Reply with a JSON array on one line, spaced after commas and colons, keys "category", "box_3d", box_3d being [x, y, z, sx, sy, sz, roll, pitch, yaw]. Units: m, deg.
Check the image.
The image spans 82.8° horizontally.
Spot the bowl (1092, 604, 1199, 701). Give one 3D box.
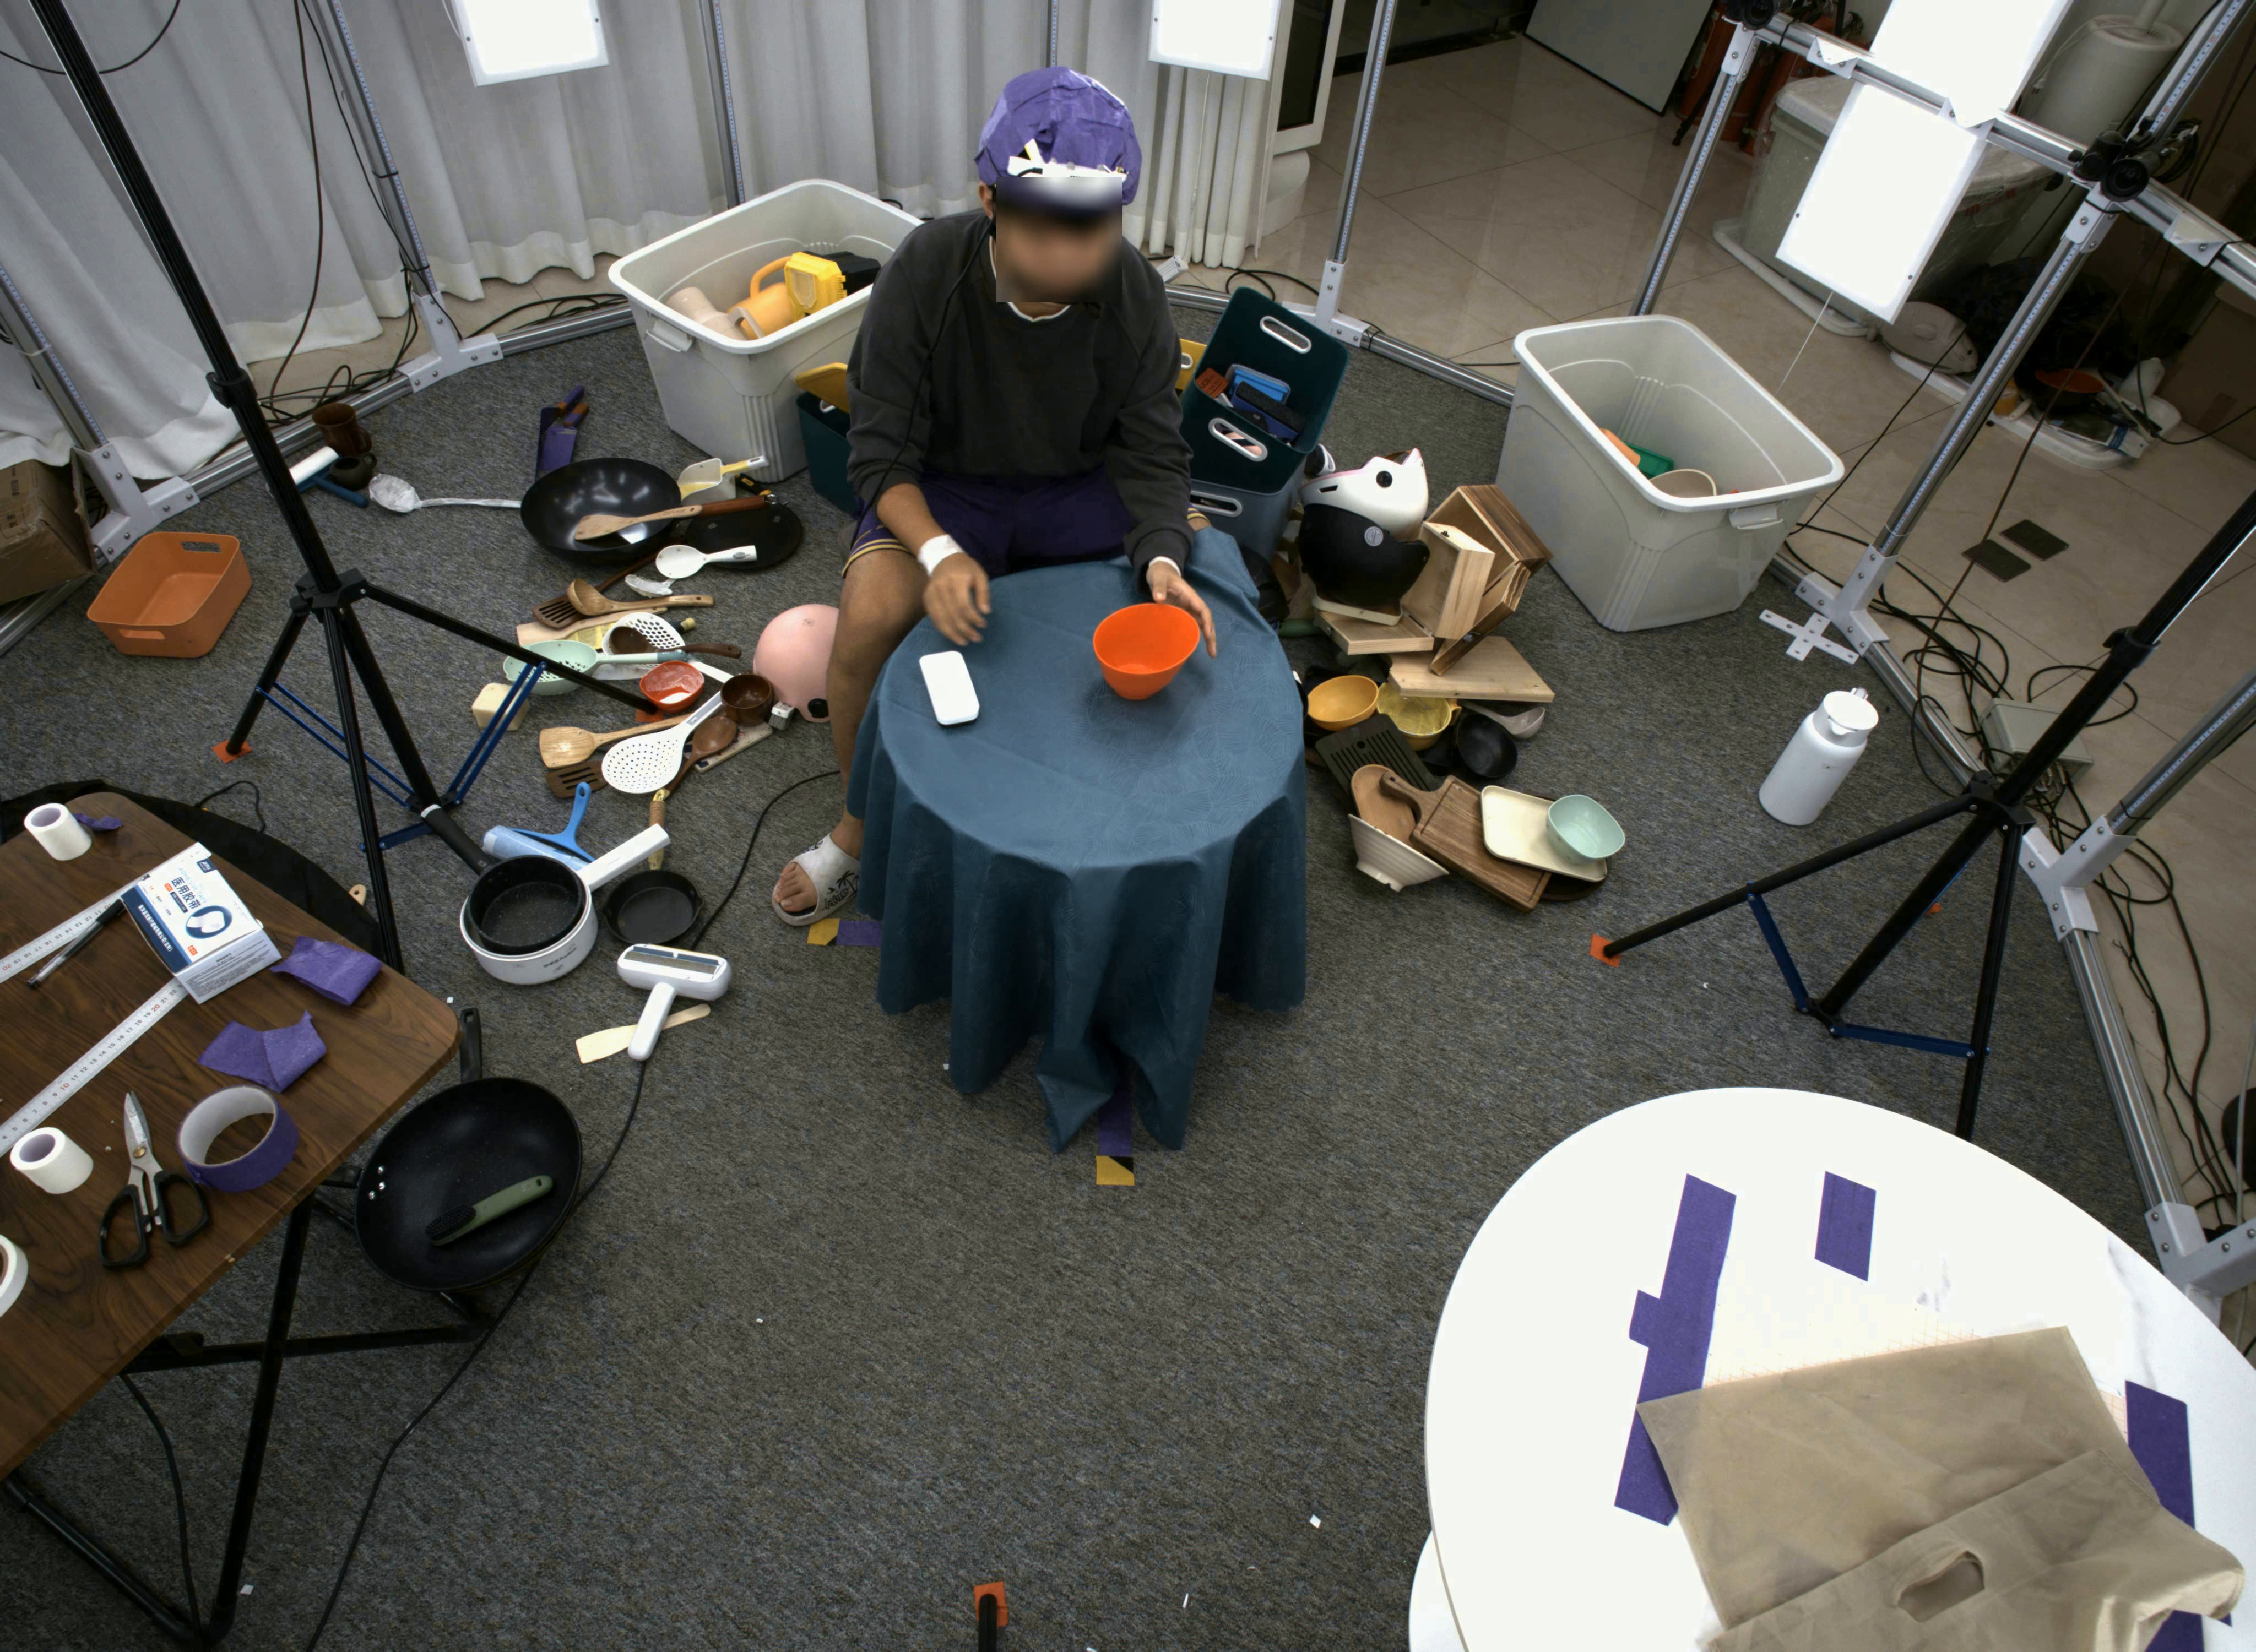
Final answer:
[{"category": "bowl", "box_3d": [0.023, -0.234, 1.807, 0.148, 0.102, 0.152, 1, 49, -2]}]

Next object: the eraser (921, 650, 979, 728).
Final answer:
[{"category": "eraser", "box_3d": [-0.248, -0.195, 1.798, 0.063, 0.034, 0.134, -9, 52, -13]}]
